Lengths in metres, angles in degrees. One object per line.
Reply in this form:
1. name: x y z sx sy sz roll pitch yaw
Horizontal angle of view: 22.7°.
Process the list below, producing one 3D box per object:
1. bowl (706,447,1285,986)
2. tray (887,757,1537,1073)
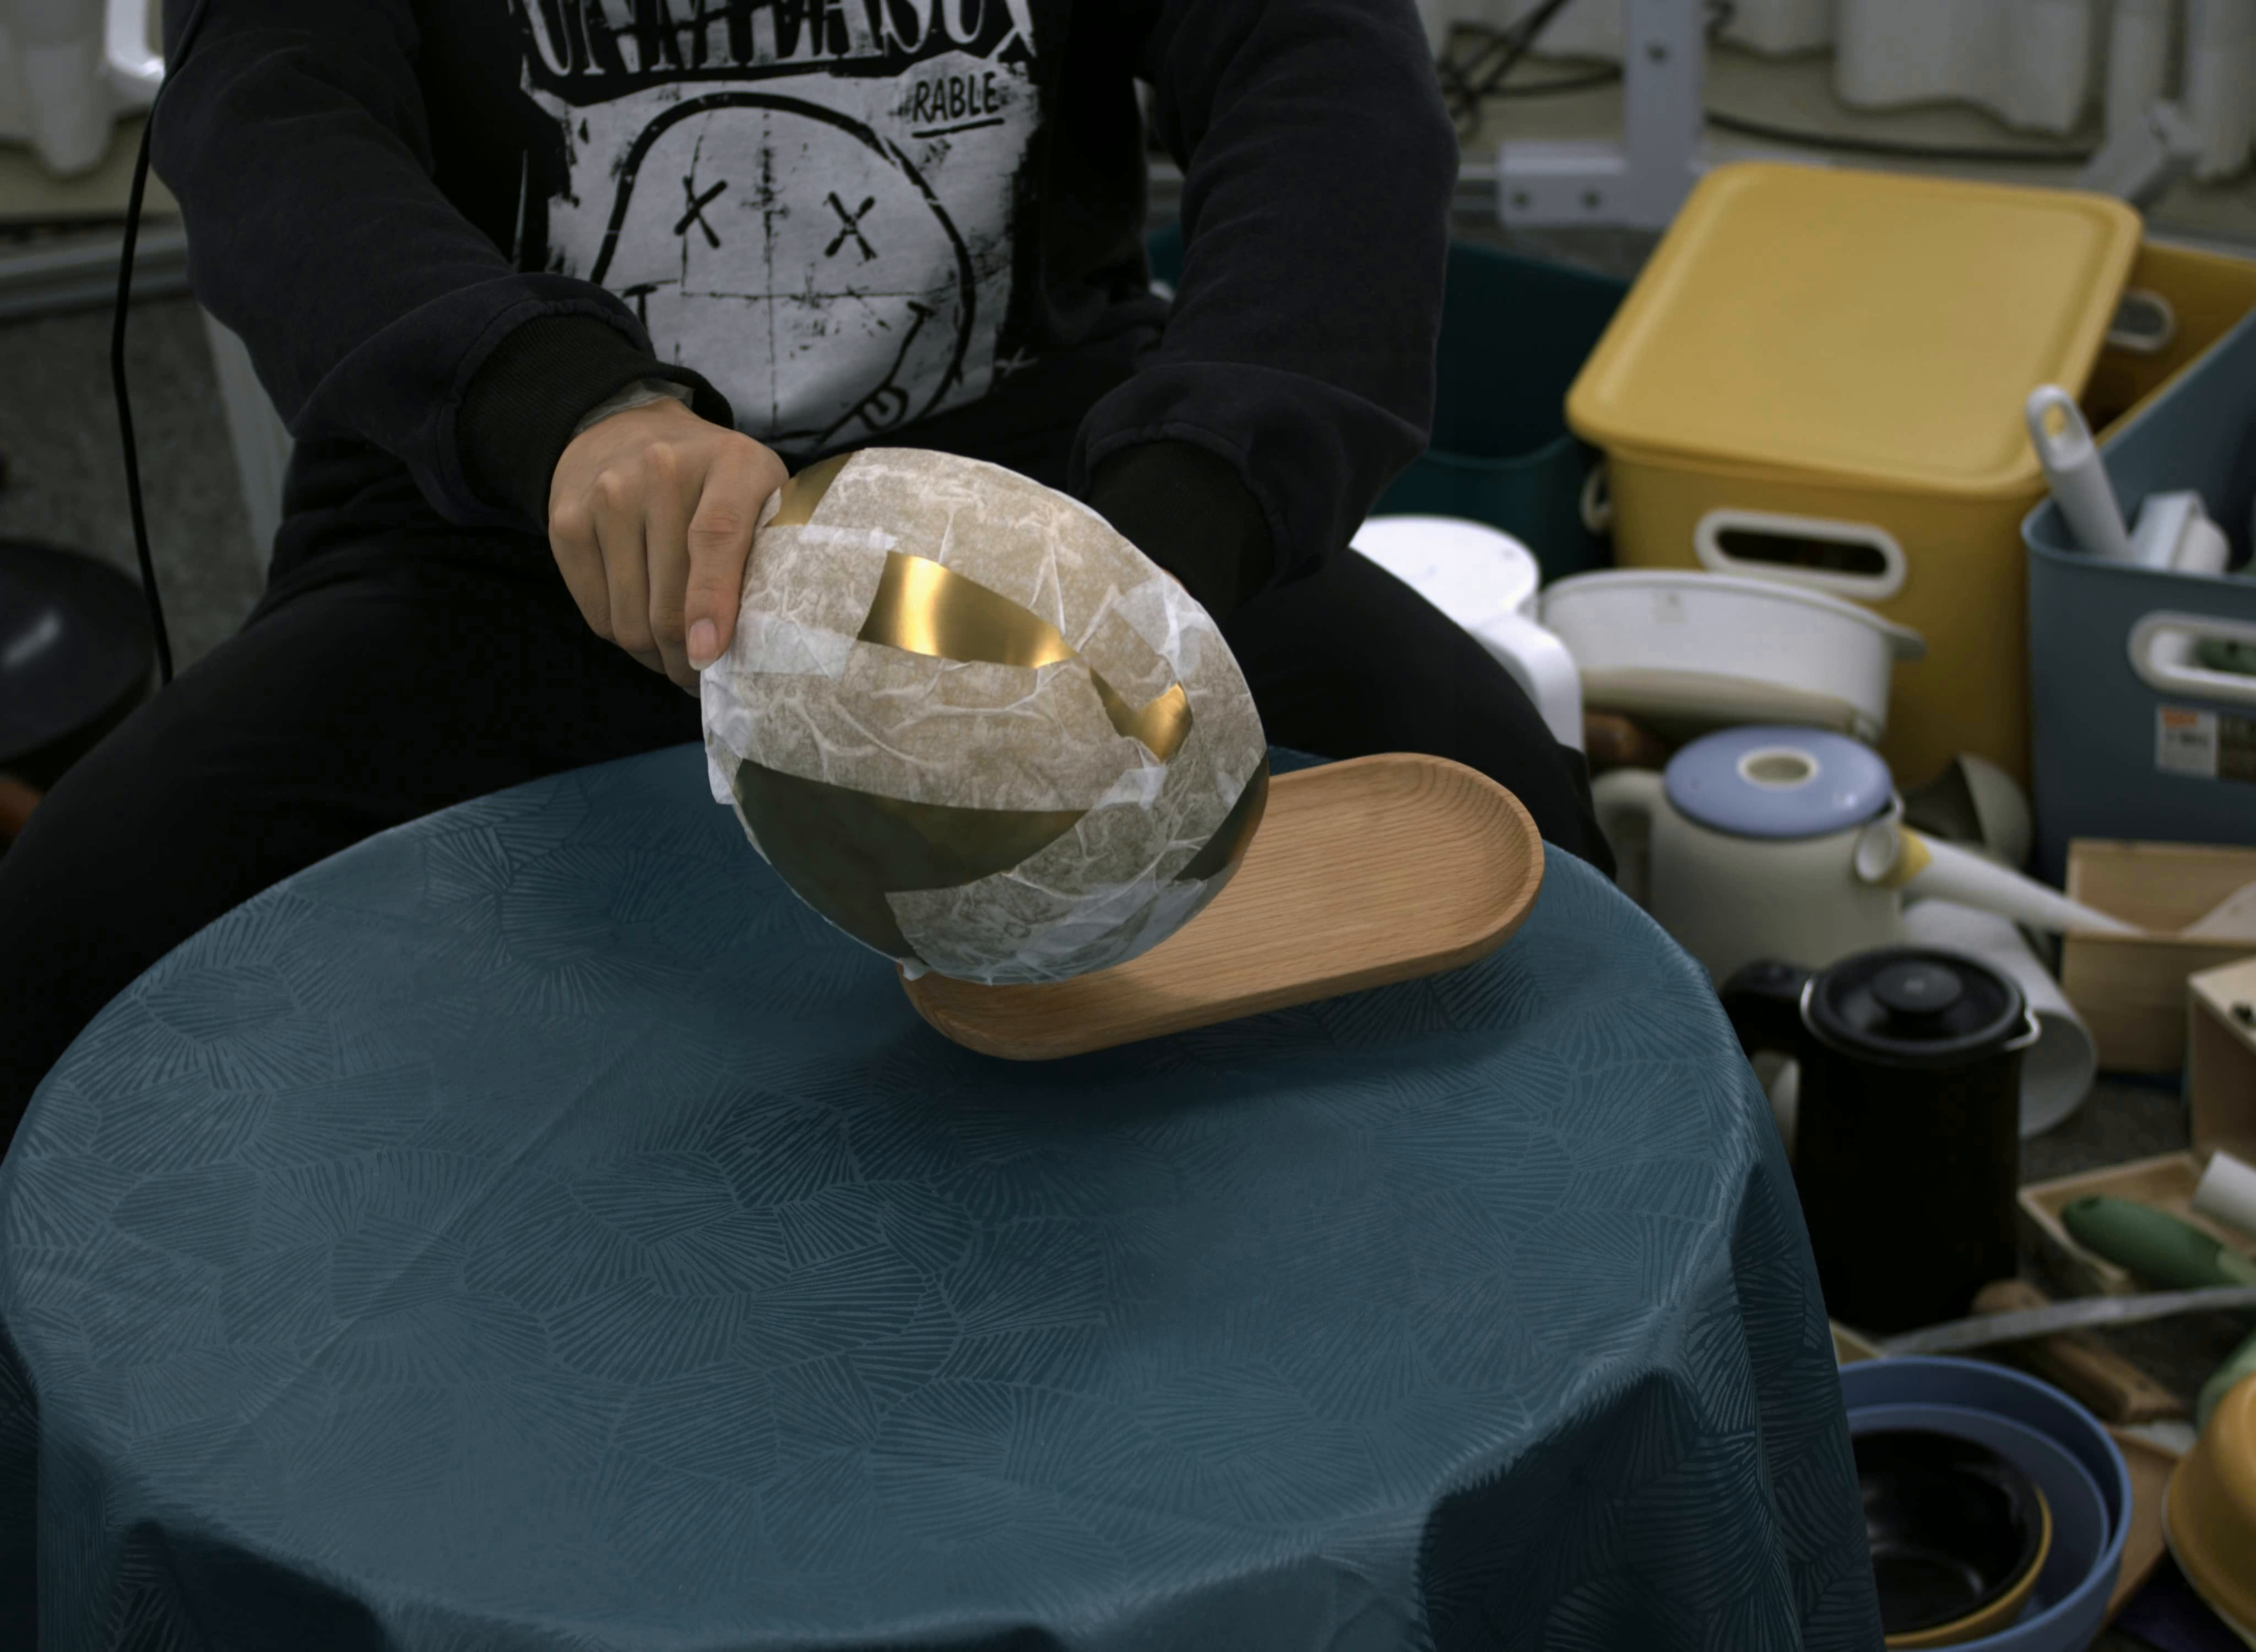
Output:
1. bowl: -0.060 -0.015 1.847 0.213 0.212 0.096 12 47 26
2. tray: 0.030 0.031 1.949 0.231 0.020 0.103 -14 43 -10
